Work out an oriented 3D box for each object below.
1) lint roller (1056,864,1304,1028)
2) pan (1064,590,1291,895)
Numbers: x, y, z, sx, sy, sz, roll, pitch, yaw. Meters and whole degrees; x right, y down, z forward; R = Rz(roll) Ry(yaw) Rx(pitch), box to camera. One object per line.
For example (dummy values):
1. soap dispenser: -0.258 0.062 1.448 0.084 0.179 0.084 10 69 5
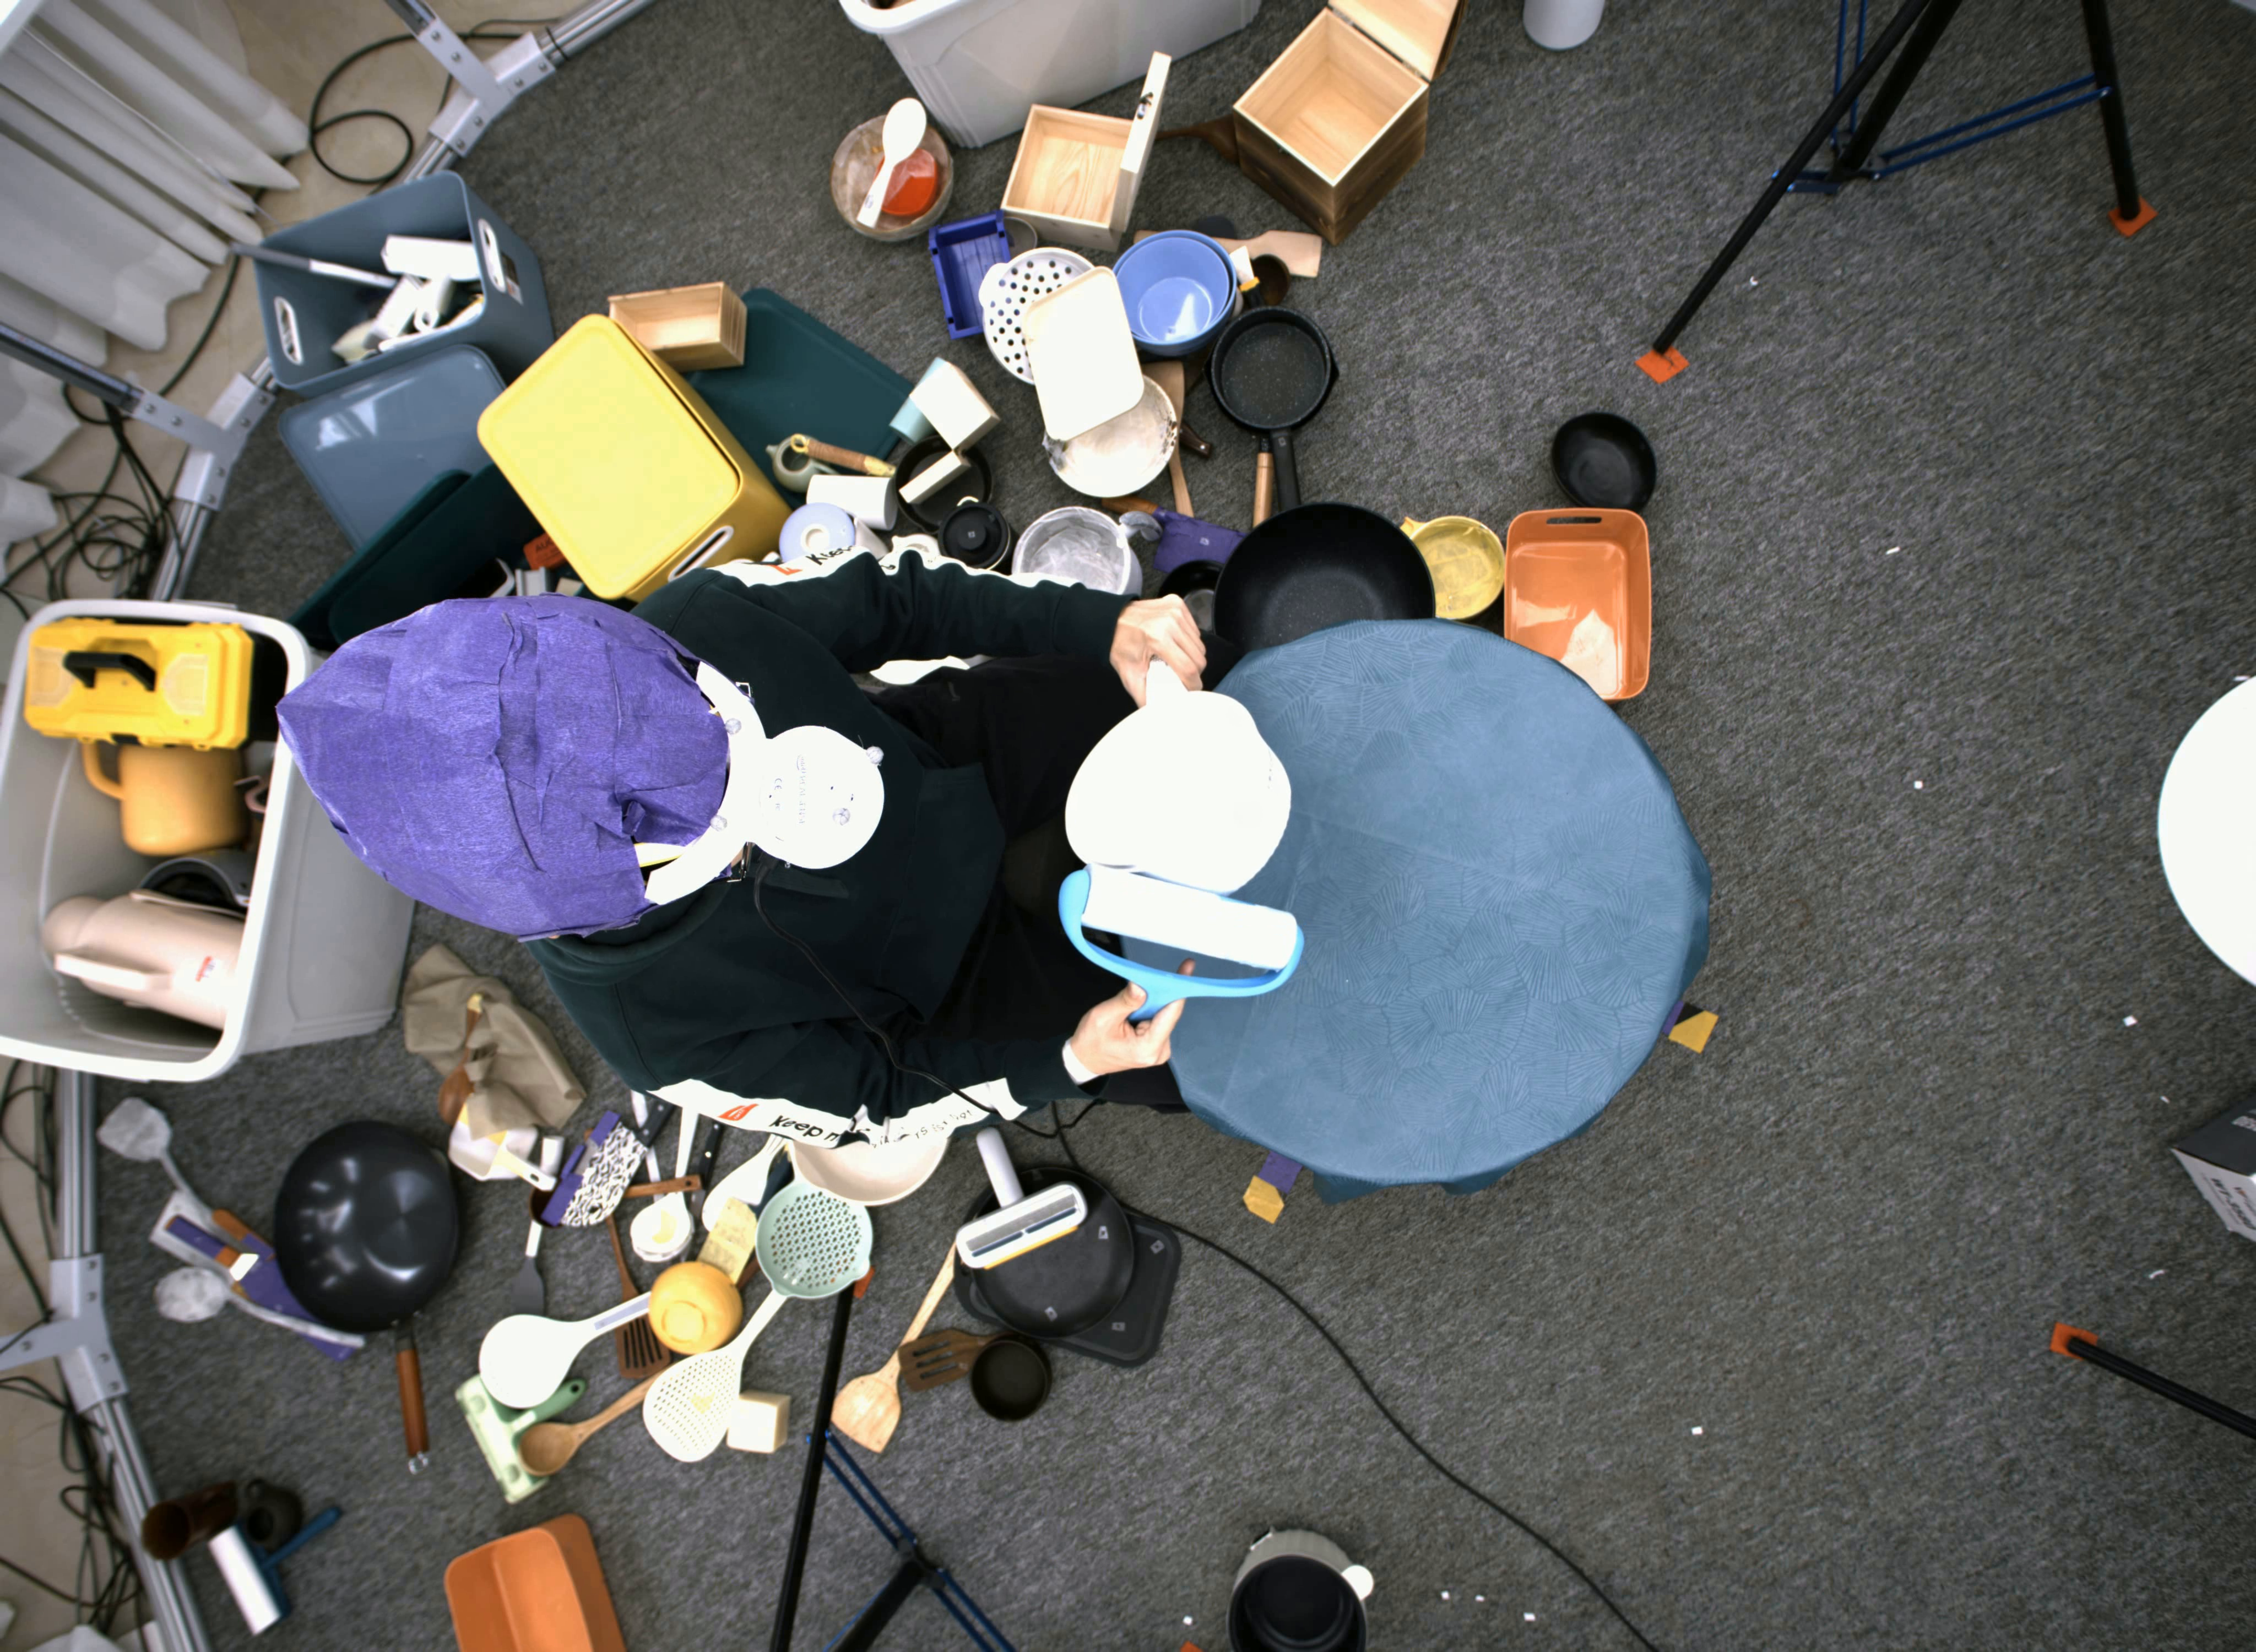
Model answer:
1. lint roller: 0.030 0.127 1.227 0.229 0.066 0.184 10 123 -18
2. pan: 0.053 -0.076 1.317 0.204 0.103 0.345 -21 45 26
